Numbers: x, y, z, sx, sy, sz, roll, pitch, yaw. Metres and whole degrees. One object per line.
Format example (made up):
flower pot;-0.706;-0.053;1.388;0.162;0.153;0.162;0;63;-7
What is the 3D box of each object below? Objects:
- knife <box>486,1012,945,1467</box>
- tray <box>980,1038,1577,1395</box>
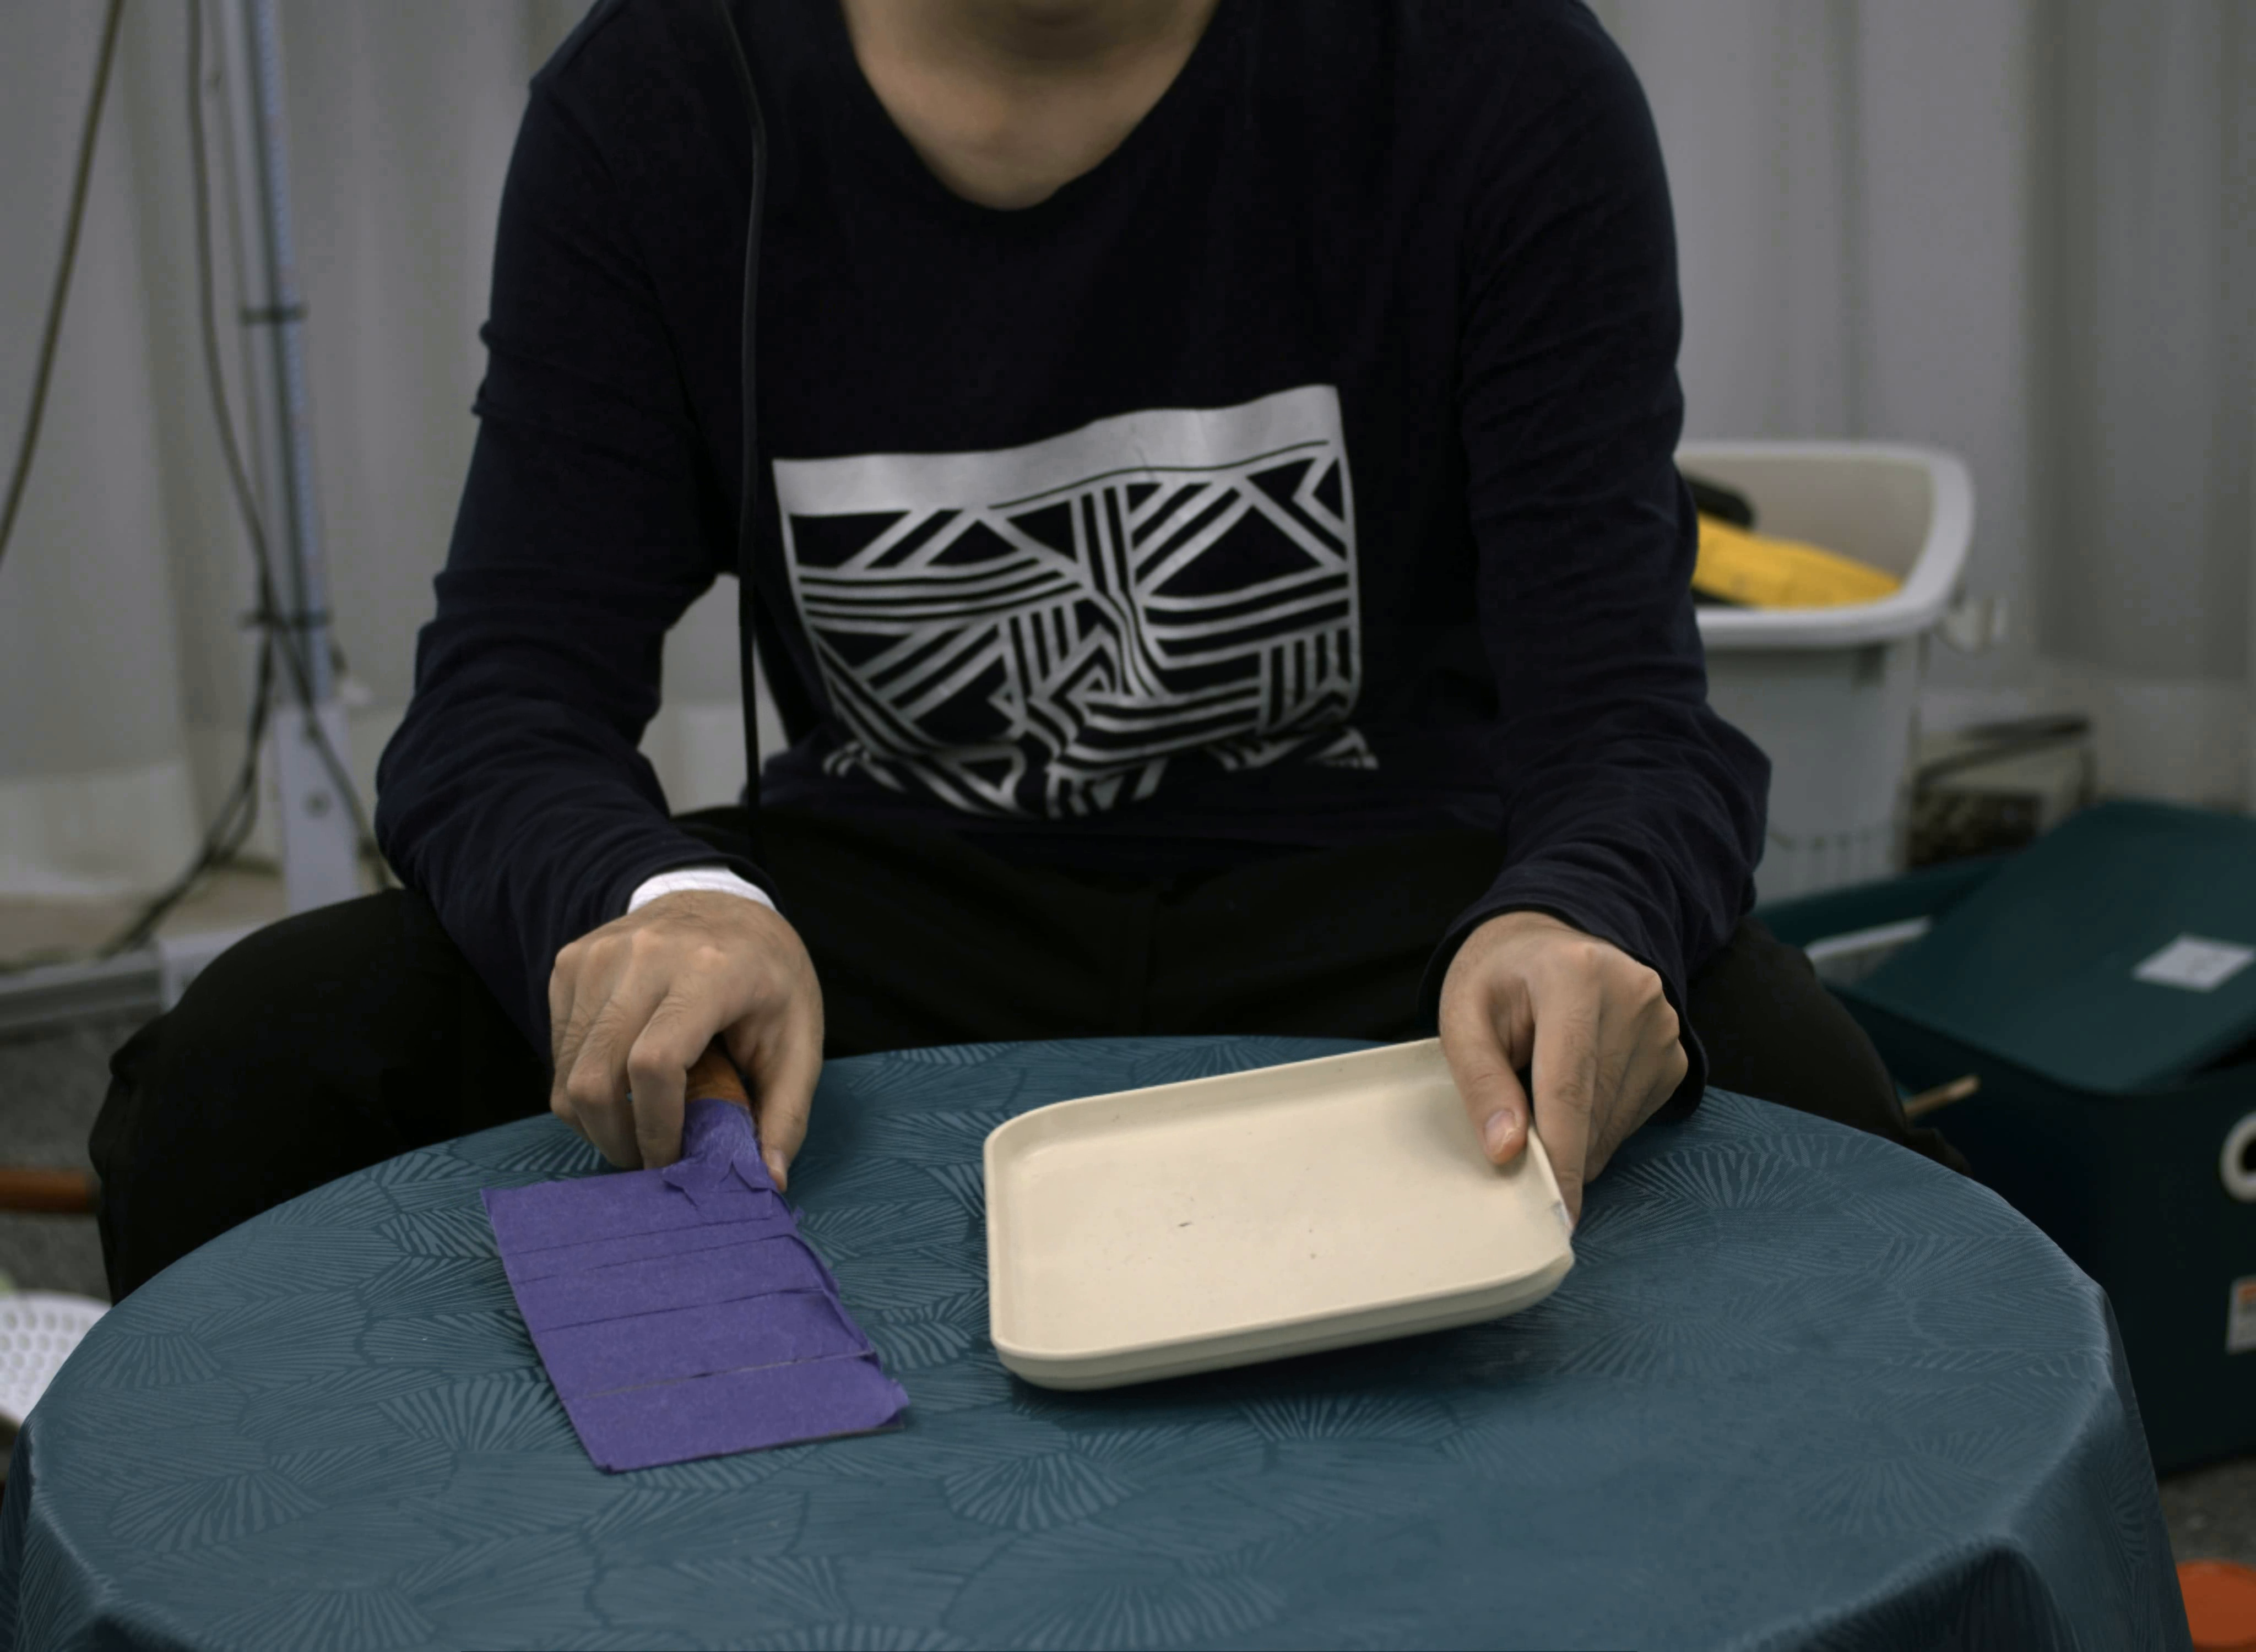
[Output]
knife;-0.142;0.121;1.653;0.103;0.032;0.318;-6;17;-15
tray;0.042;0.116;1.638;0.171;0.017;0.241;-11;14;1
